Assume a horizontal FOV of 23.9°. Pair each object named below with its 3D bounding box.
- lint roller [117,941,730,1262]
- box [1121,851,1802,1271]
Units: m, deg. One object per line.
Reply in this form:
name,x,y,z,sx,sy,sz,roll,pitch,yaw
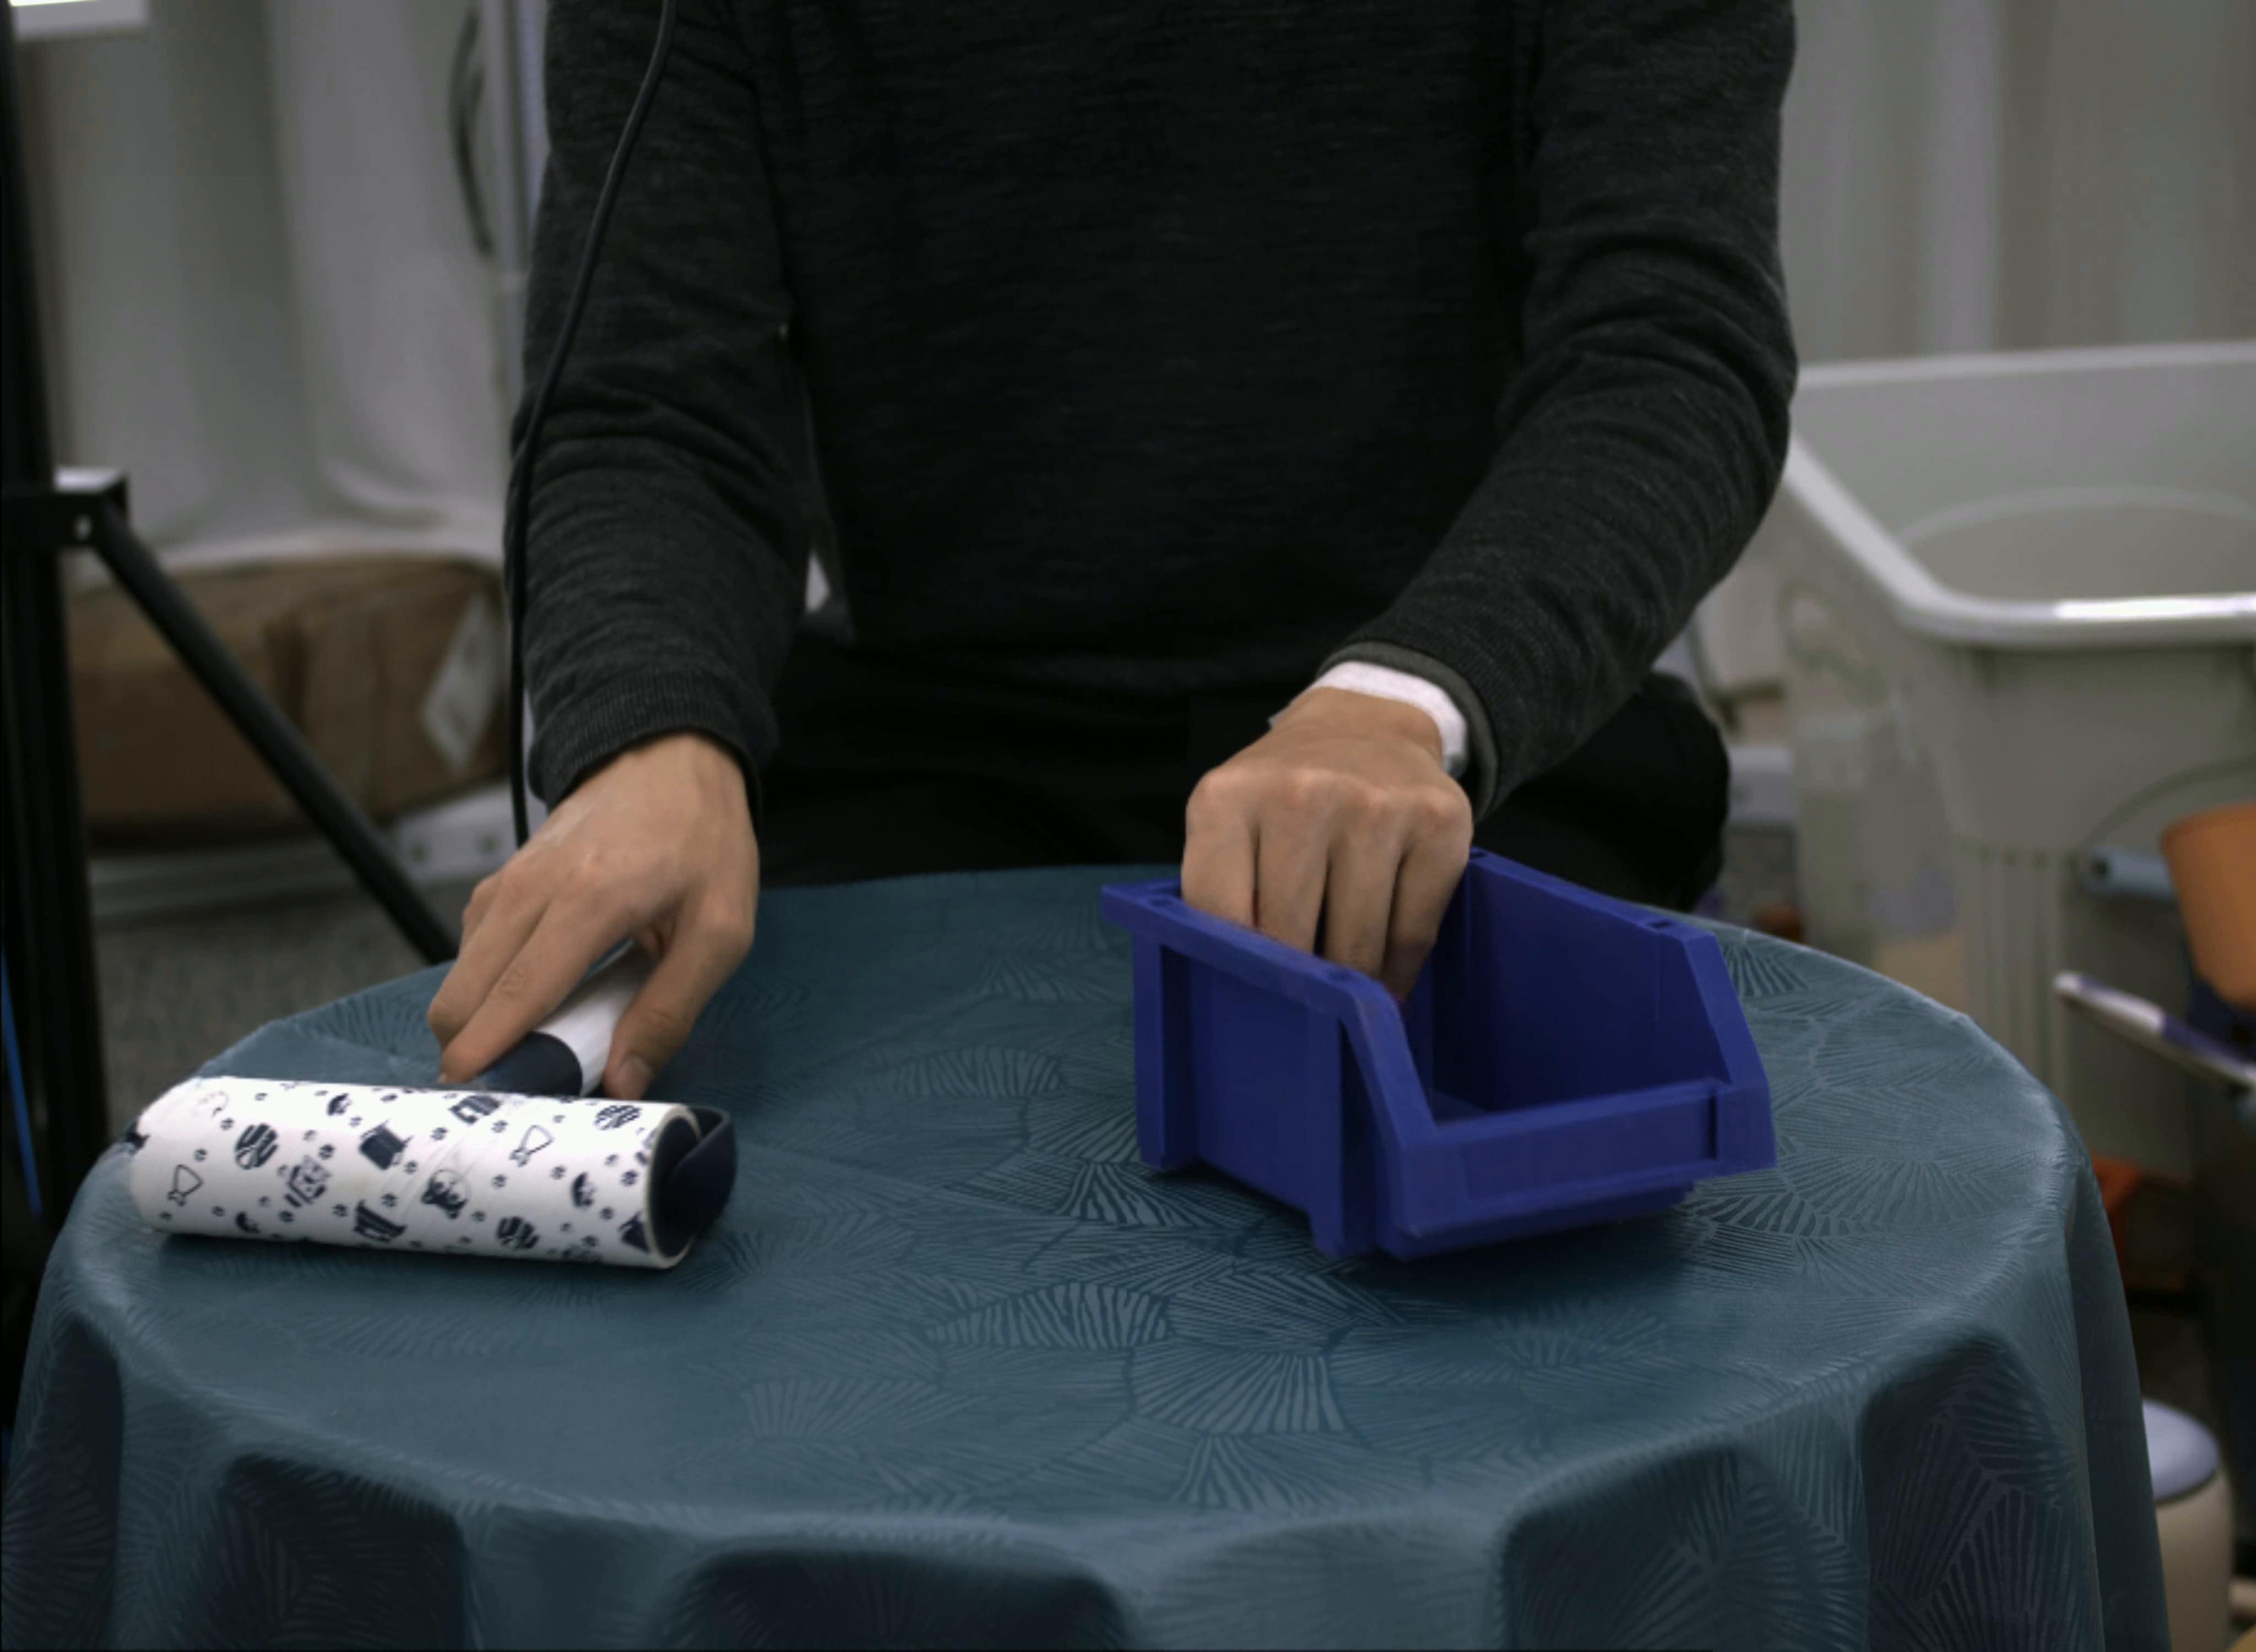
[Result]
lint roller,-0.177,0.072,1.628,0.178,0.050,0.244,2,16,18
box,0.095,0.068,1.519,0.122,0.082,0.183,-8,12,-26
